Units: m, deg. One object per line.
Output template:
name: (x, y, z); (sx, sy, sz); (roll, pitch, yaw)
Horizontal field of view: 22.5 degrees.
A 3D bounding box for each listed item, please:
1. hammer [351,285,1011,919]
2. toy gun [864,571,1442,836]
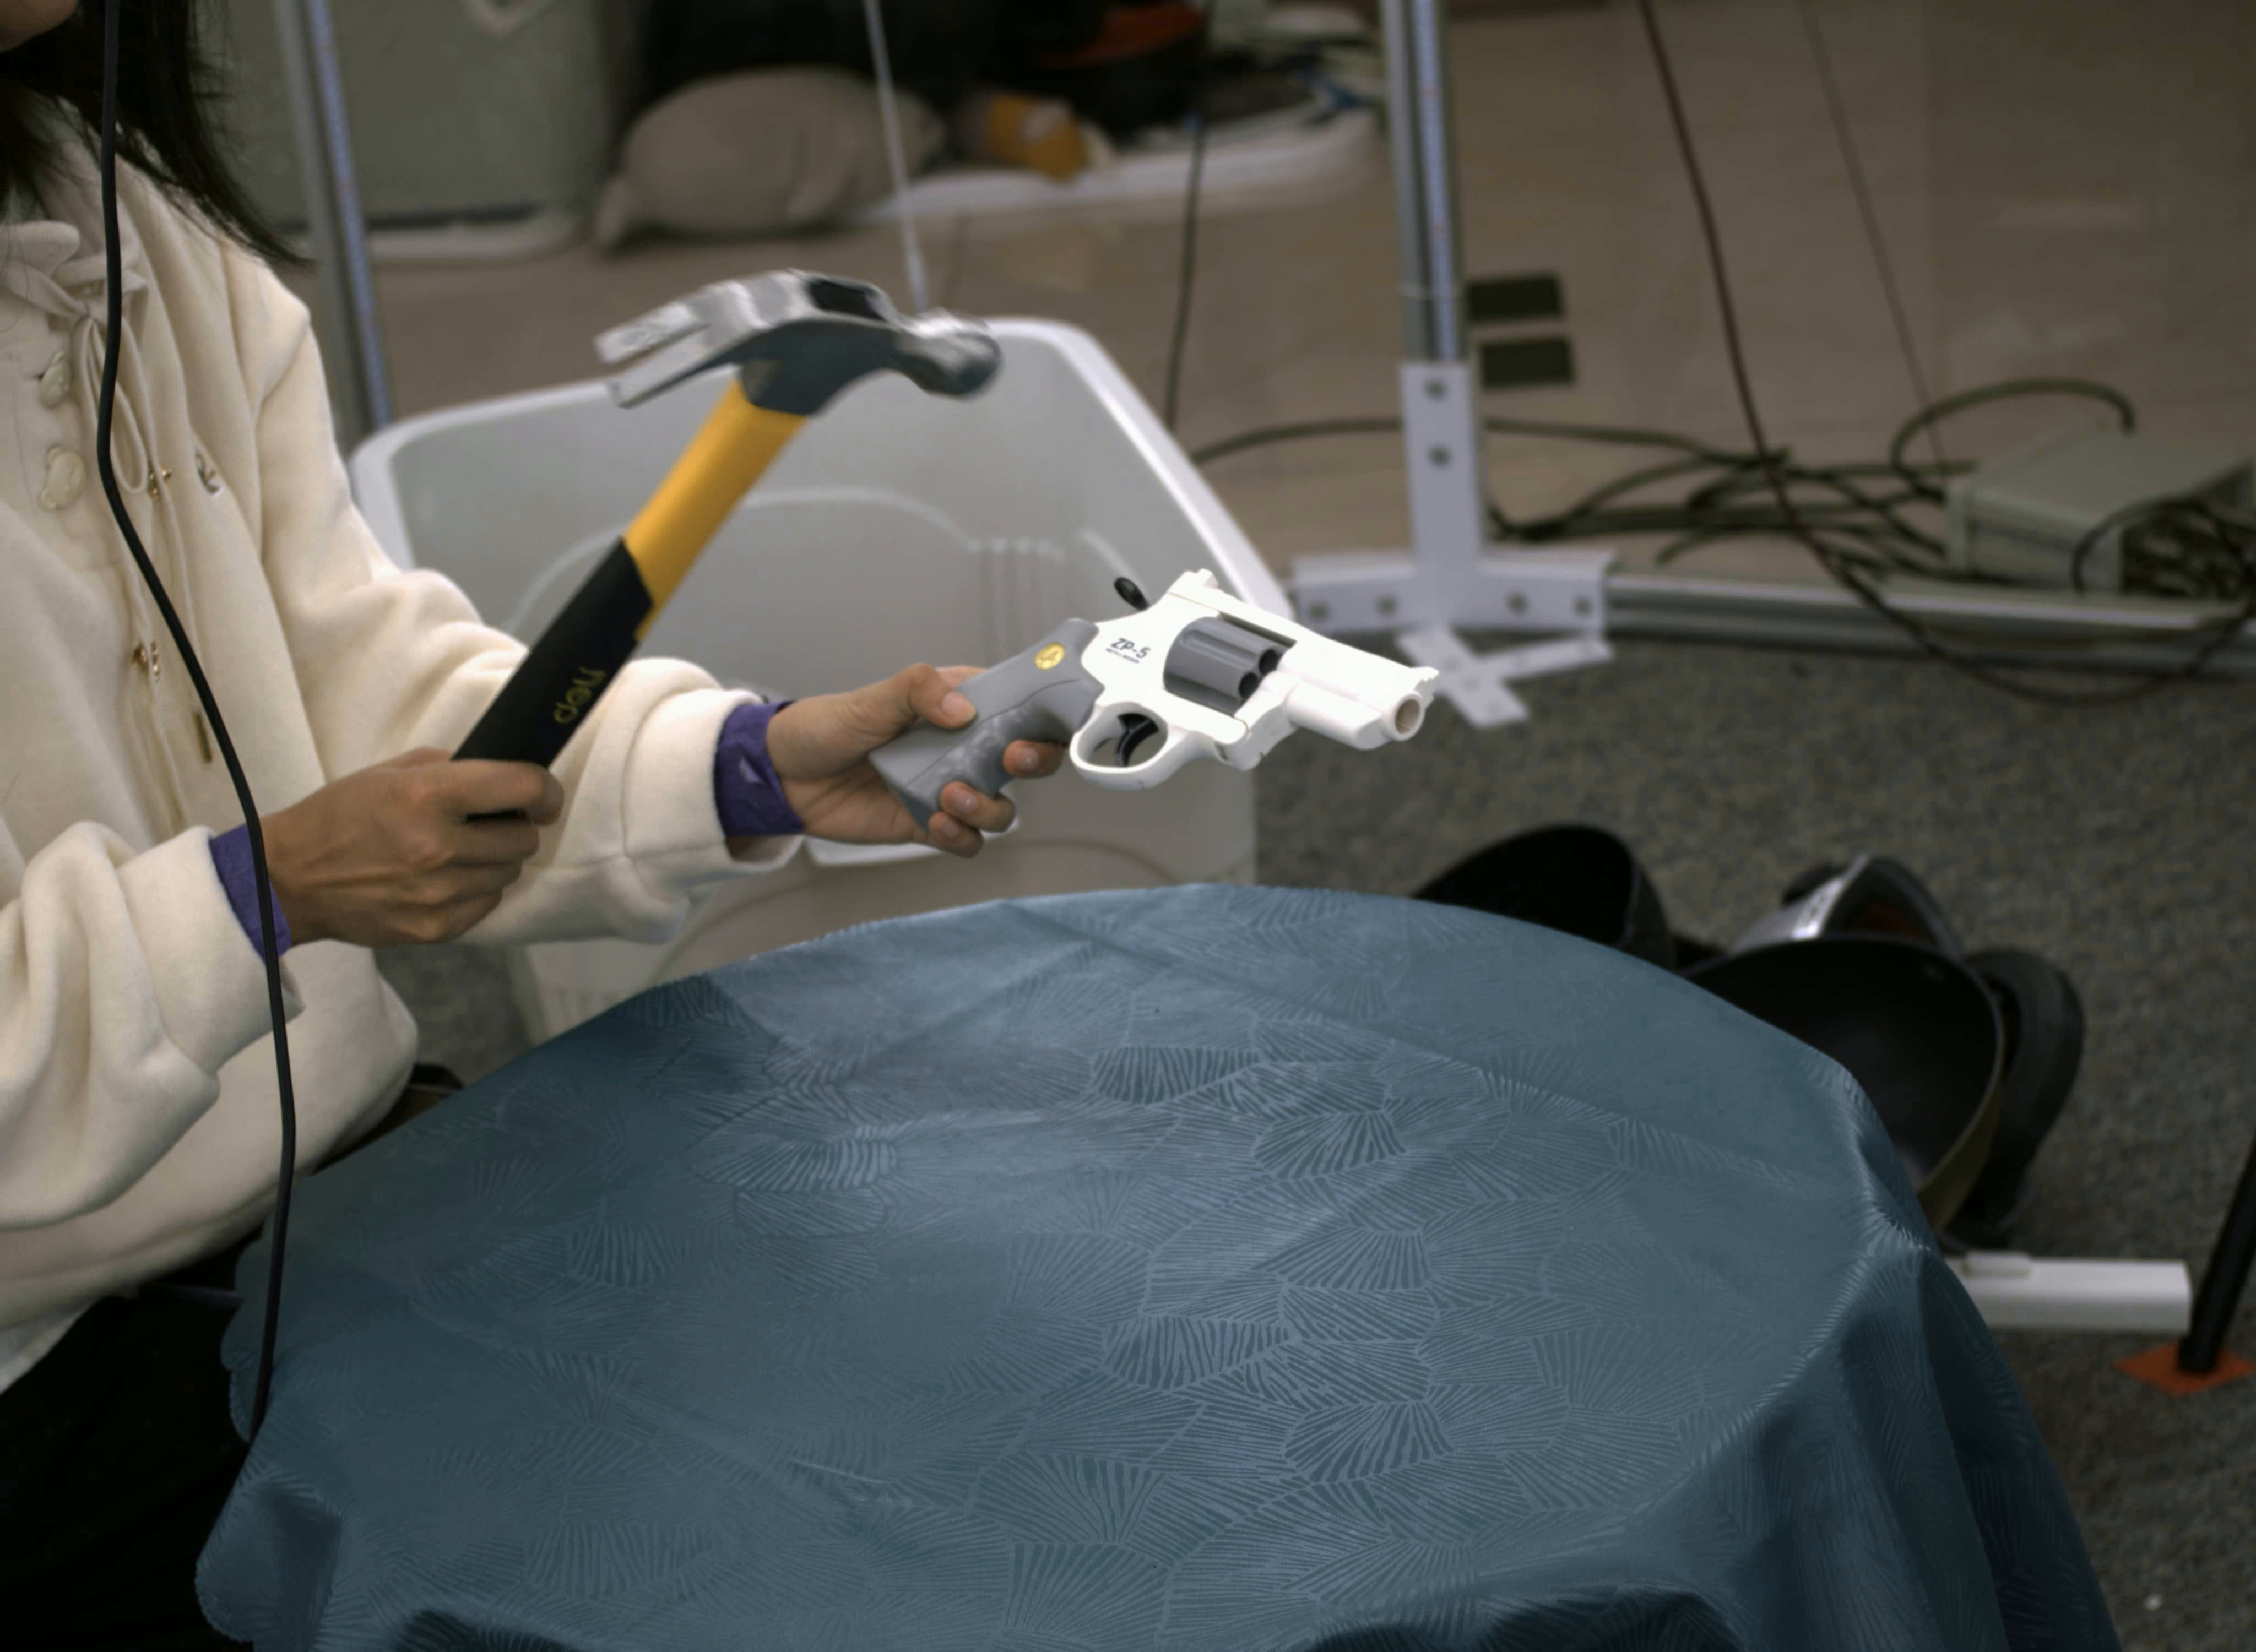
hammer: (-0.187, -0.078, 2.060); (0.132, 0.343, 0.032); (8, 47, -39)
toy gun: (0.007, -0.038, 2.177); (0.207, 0.039, 0.140); (21, 62, 43)
